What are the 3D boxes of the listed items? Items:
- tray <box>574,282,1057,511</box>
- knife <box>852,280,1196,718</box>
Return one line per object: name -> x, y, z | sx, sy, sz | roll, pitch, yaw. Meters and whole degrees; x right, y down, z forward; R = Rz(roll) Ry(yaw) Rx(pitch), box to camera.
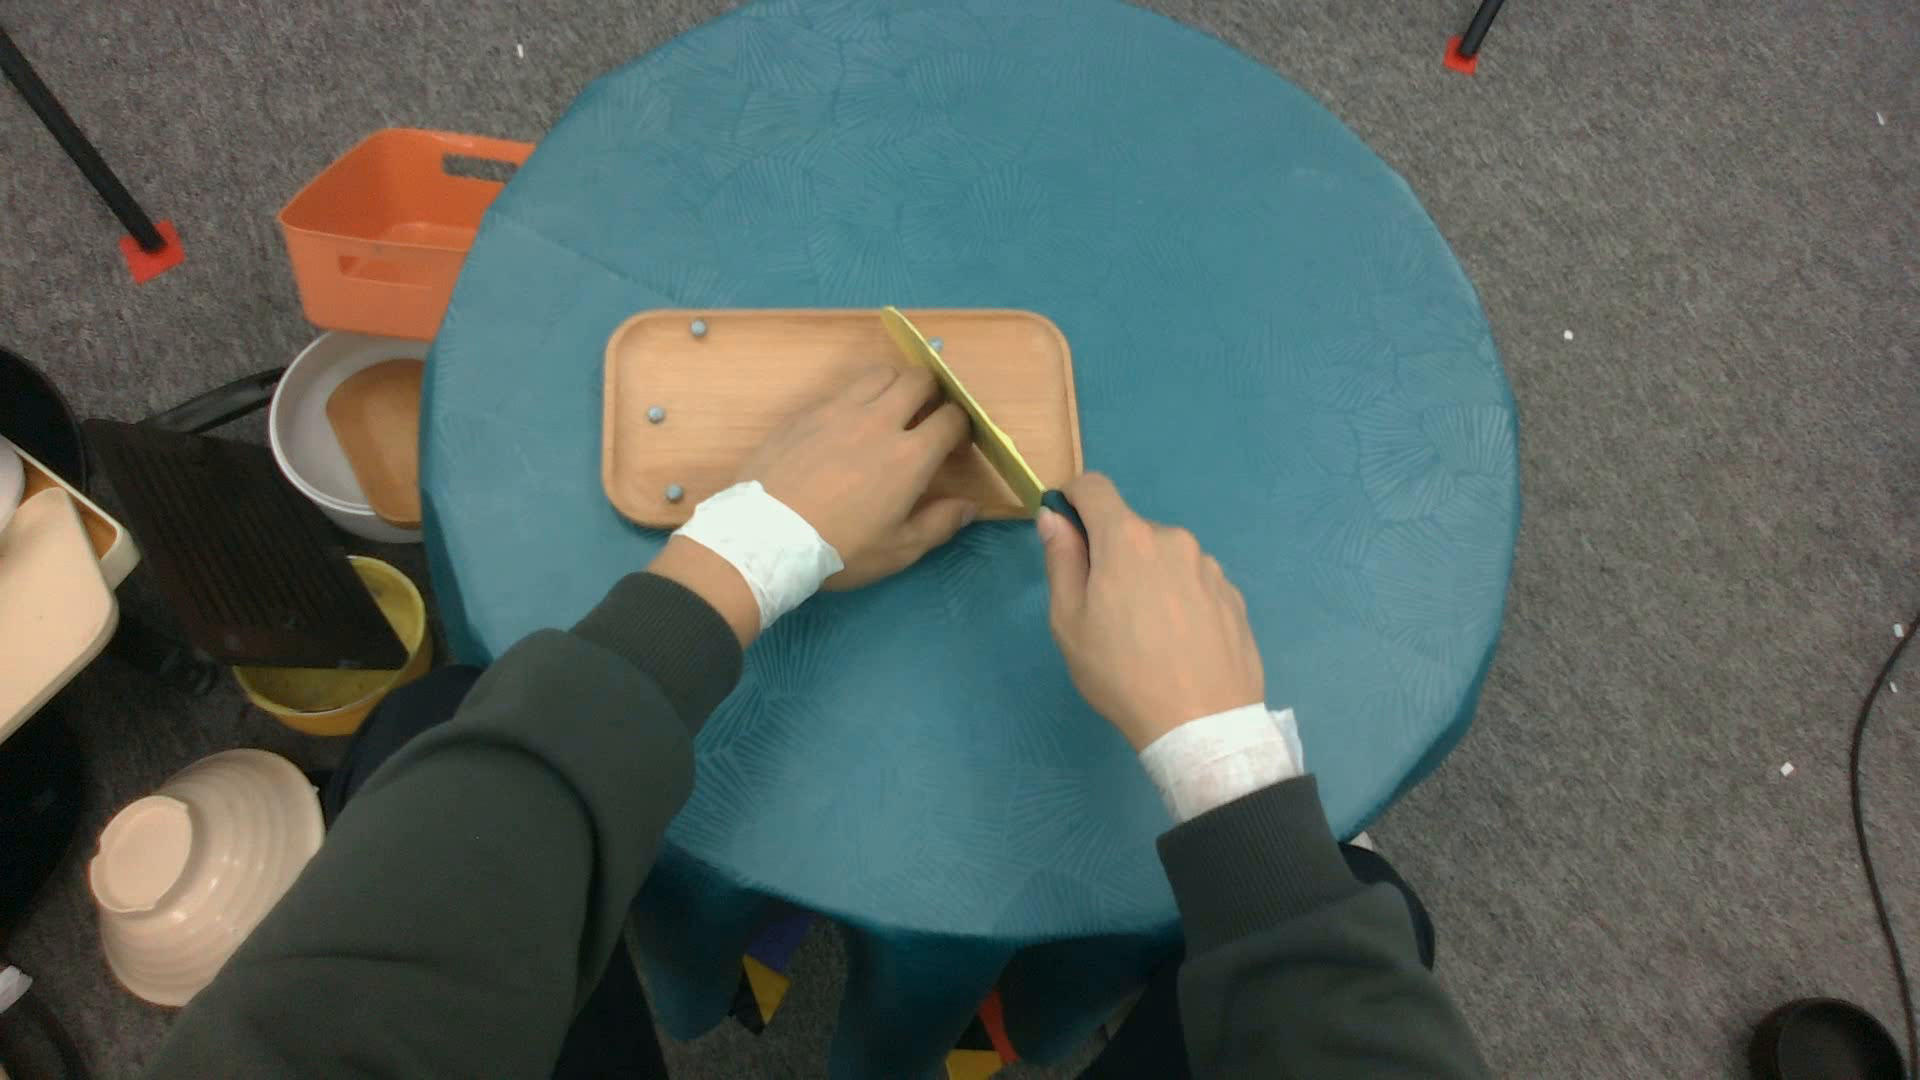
tray -> -0.076, -0.078, 0.734 | 0.251, 0.023, 0.131 | -2, 70, -9
knife -> 0.022, -0.028, 0.679 | 0.027, 0.081, 0.290 | -35, 68, -4
